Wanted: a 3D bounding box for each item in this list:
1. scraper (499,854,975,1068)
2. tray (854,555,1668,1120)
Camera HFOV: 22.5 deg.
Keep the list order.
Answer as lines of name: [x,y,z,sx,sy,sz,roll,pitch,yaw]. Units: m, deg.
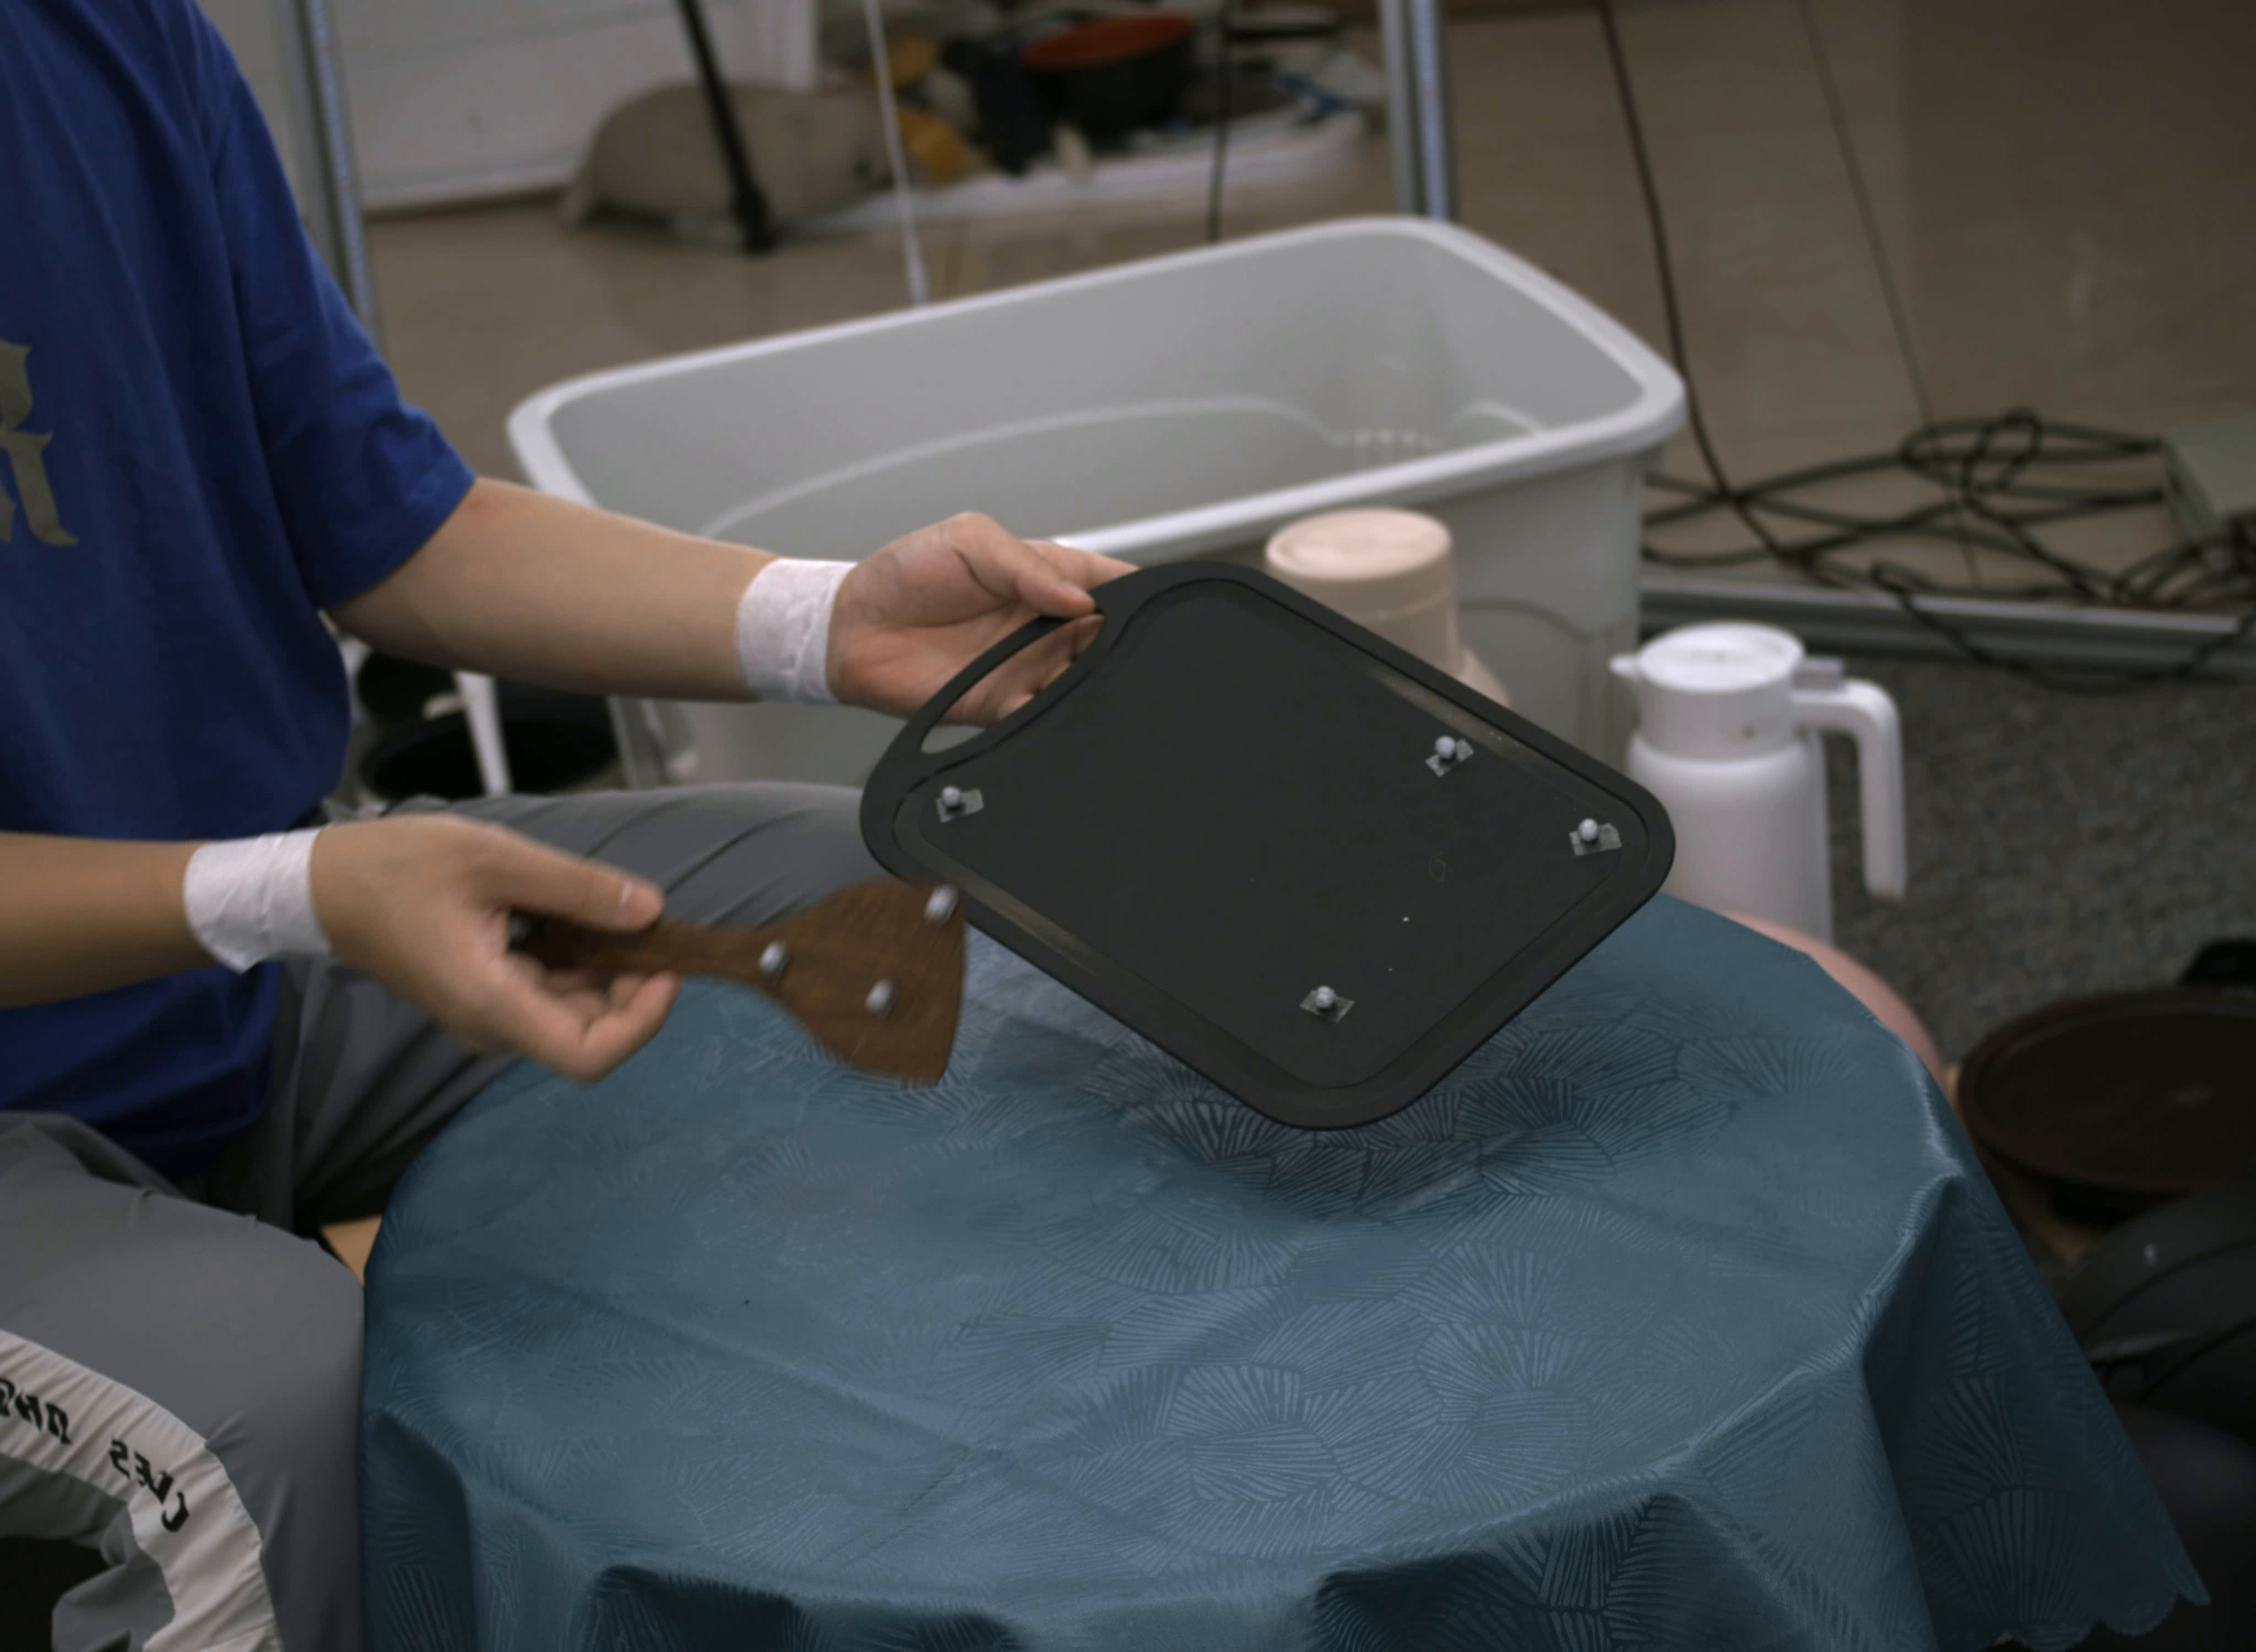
scraper: [-0.145,0.041,2.076,0.210,0.076,0.011,6,1,29]
tray: [0.042,-0.005,2.219,0.209,0.010,0.322,-39,48,-21]
